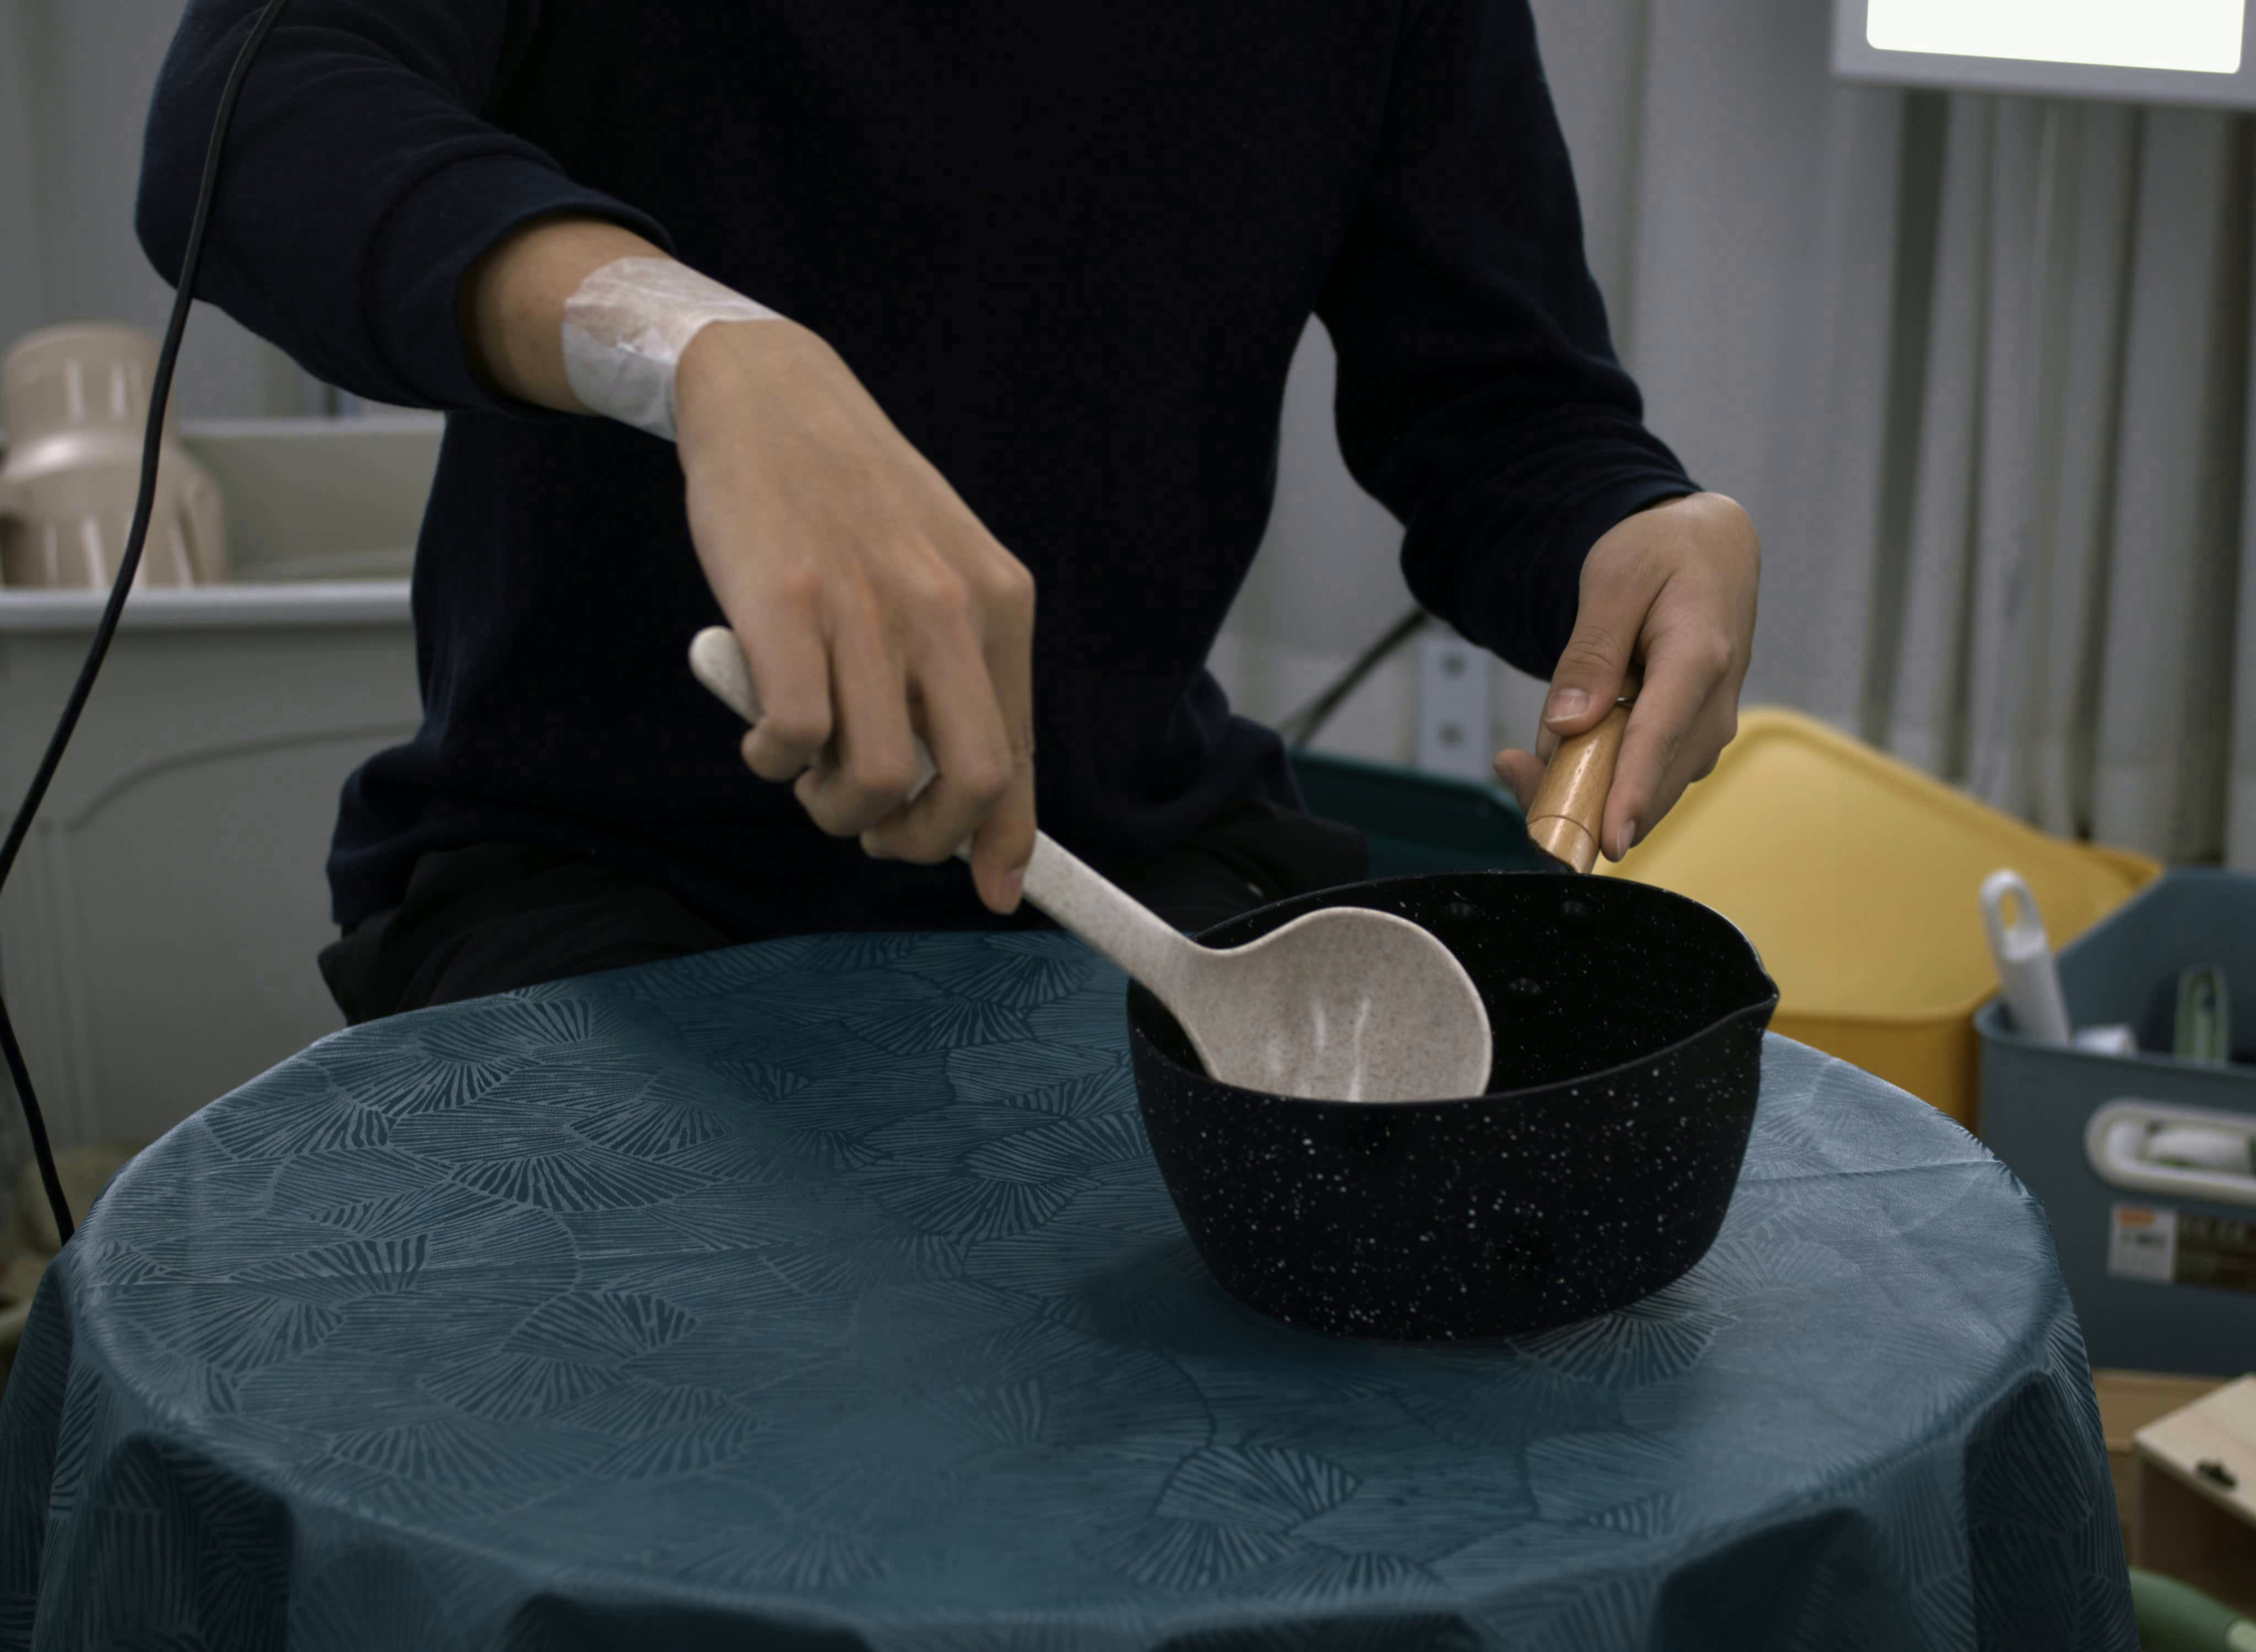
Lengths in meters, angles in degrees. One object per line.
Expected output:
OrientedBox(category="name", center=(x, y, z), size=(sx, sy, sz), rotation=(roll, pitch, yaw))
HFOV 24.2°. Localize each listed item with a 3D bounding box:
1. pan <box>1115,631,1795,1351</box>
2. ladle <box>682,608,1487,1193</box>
OrientedBox(category="pan", center=(0.117, 0.045, 1.611), size=(0.206, 0.109, 0.342), rotation=(0, 21, 18))
OrientedBox(category="ladle", center=(-0.006, 0.011, 1.424), size=(0.068, 0.089, 0.278), rotation=(-4, -31, 42))
